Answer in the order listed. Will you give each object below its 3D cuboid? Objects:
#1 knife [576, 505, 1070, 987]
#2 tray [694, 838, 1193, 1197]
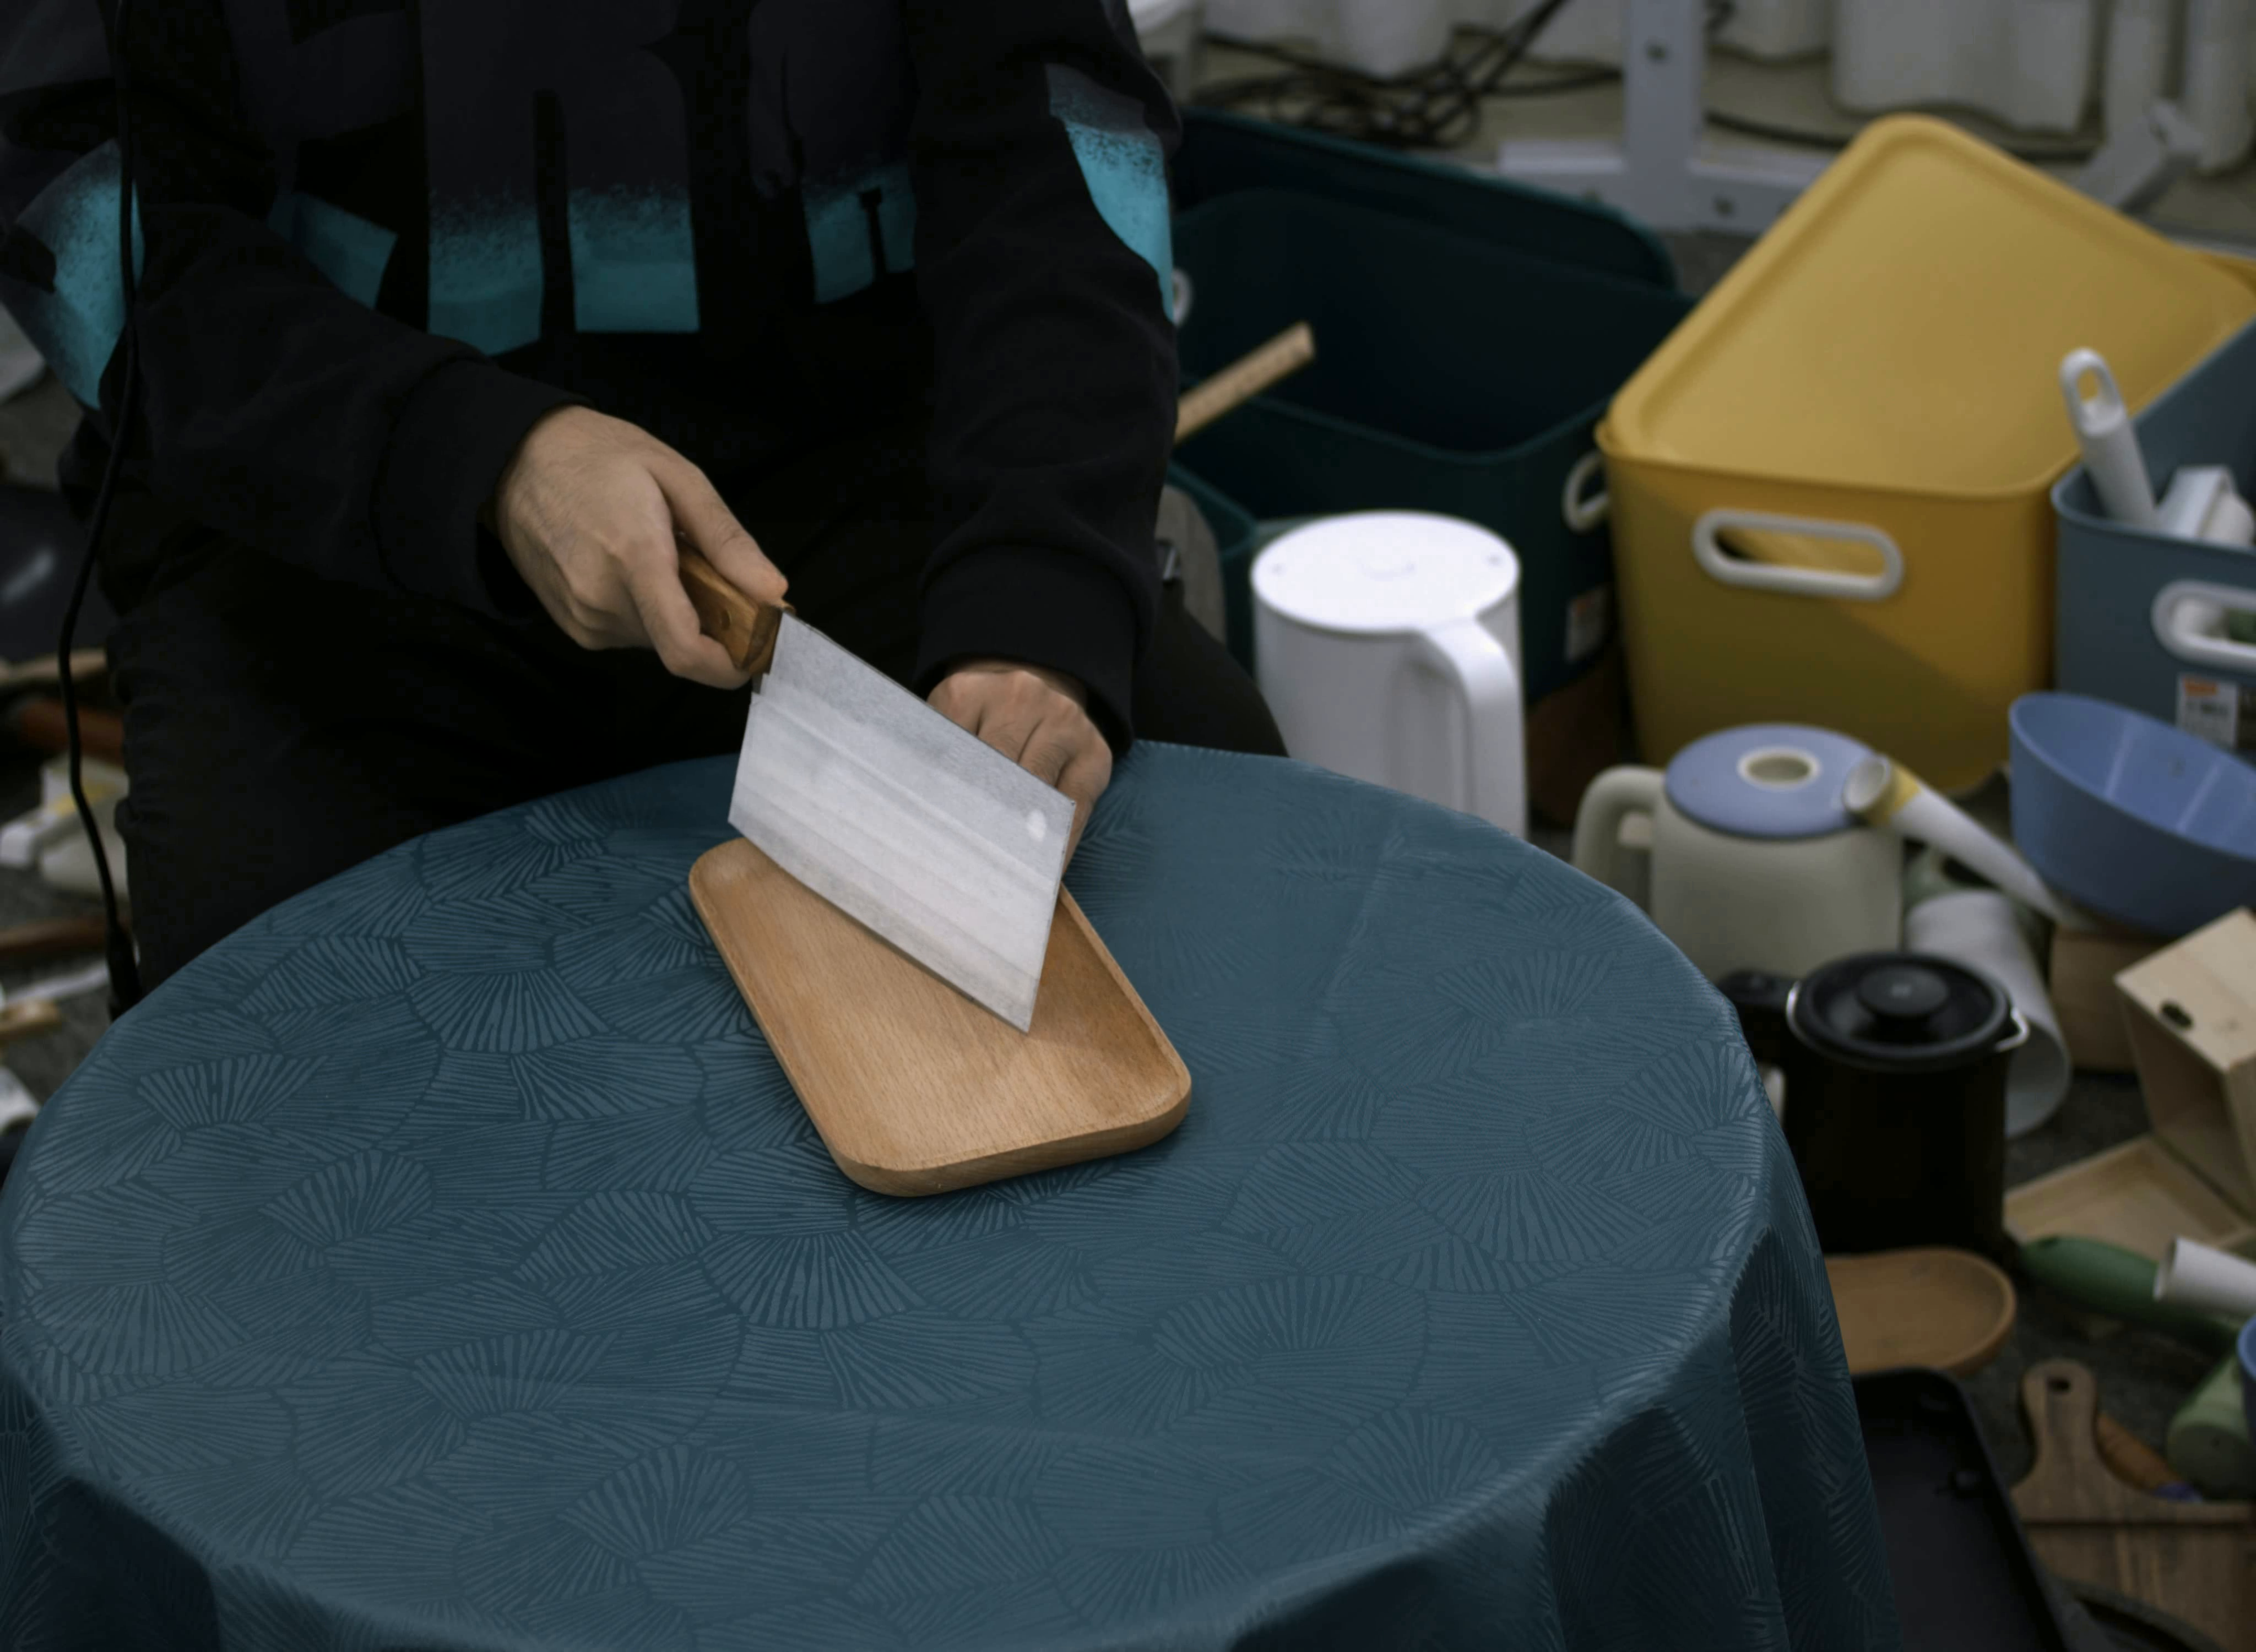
[{"bbox_3d":[-0.116,-0.028,2.033,0.021,0.092,0.306,-4,25,-39],"label":"knife"},{"bbox_3d":[-0.068,0.058,1.974,0.130,0.022,0.253,-8,27,-14],"label":"tray"}]
